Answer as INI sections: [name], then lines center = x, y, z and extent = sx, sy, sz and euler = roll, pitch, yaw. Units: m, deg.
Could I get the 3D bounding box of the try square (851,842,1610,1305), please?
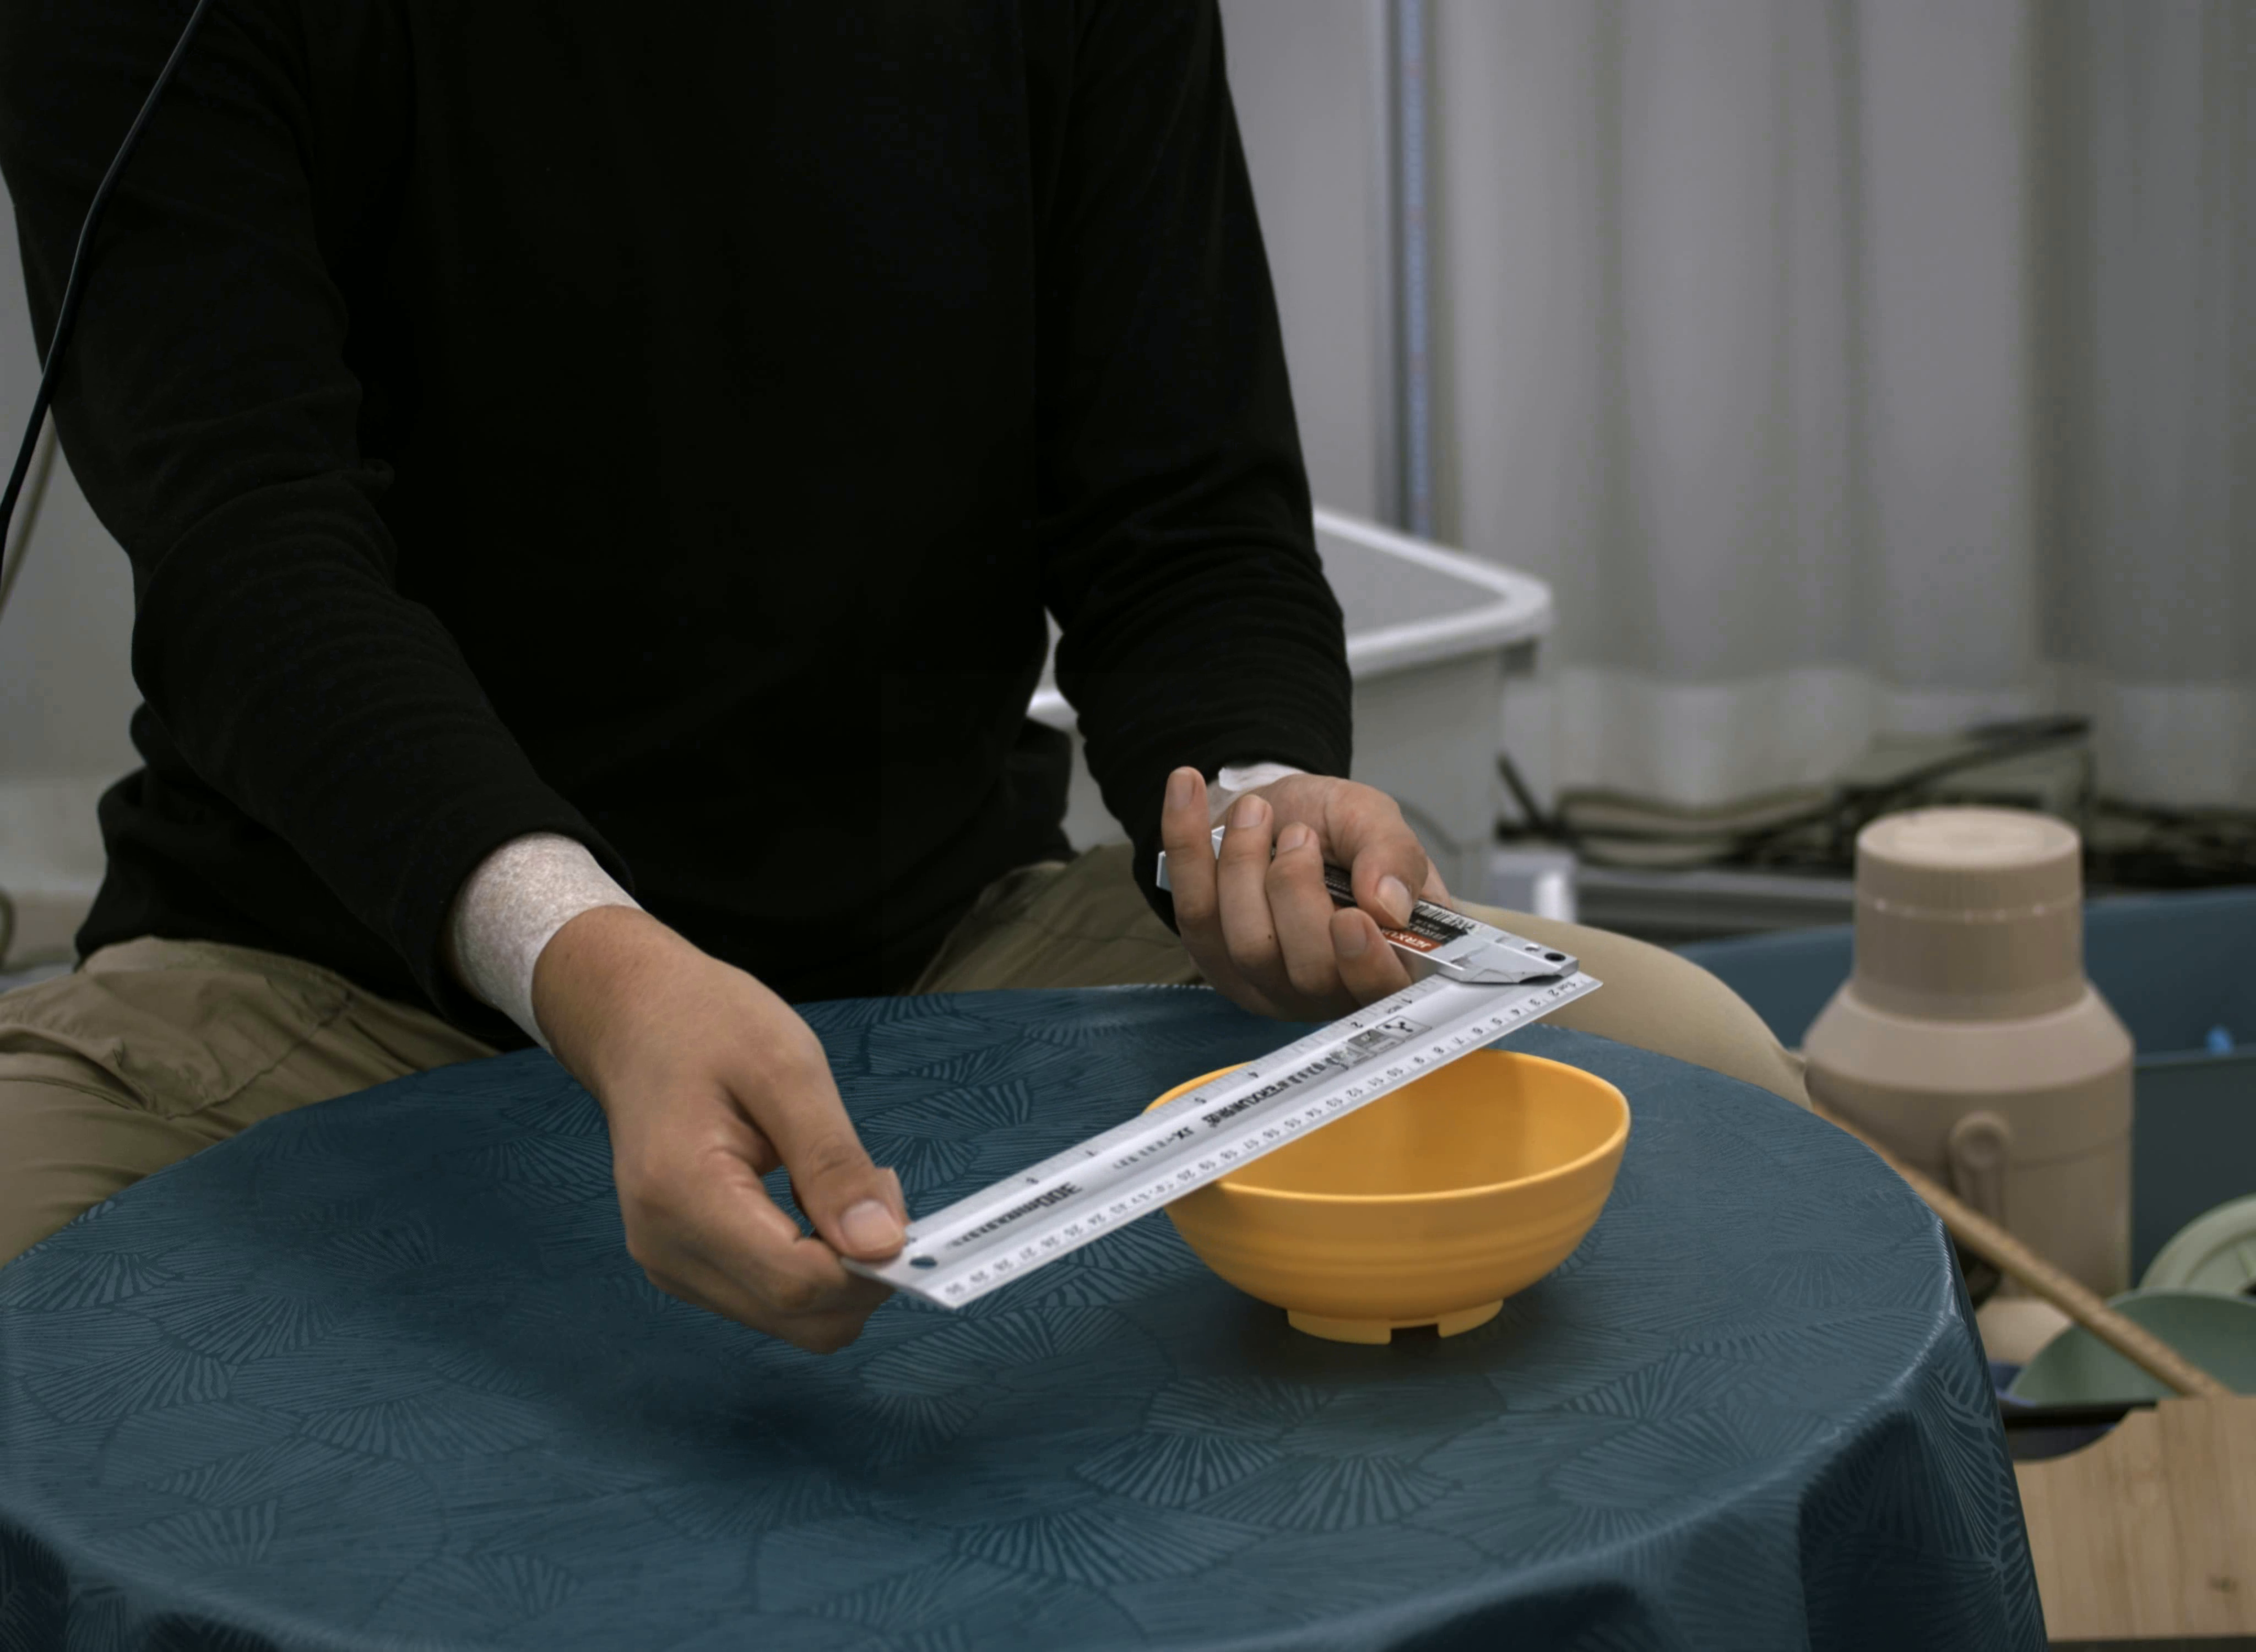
[try square]
center = -0.005, 0.068, 1.609
extent = 0.153, 0.016, 0.313
euler = 17, 26, 35

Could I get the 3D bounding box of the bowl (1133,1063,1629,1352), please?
[bowl]
center = 0.074, 0.115, 1.594
extent = 0.145, 0.060, 0.146
euler = -1, 12, 0
